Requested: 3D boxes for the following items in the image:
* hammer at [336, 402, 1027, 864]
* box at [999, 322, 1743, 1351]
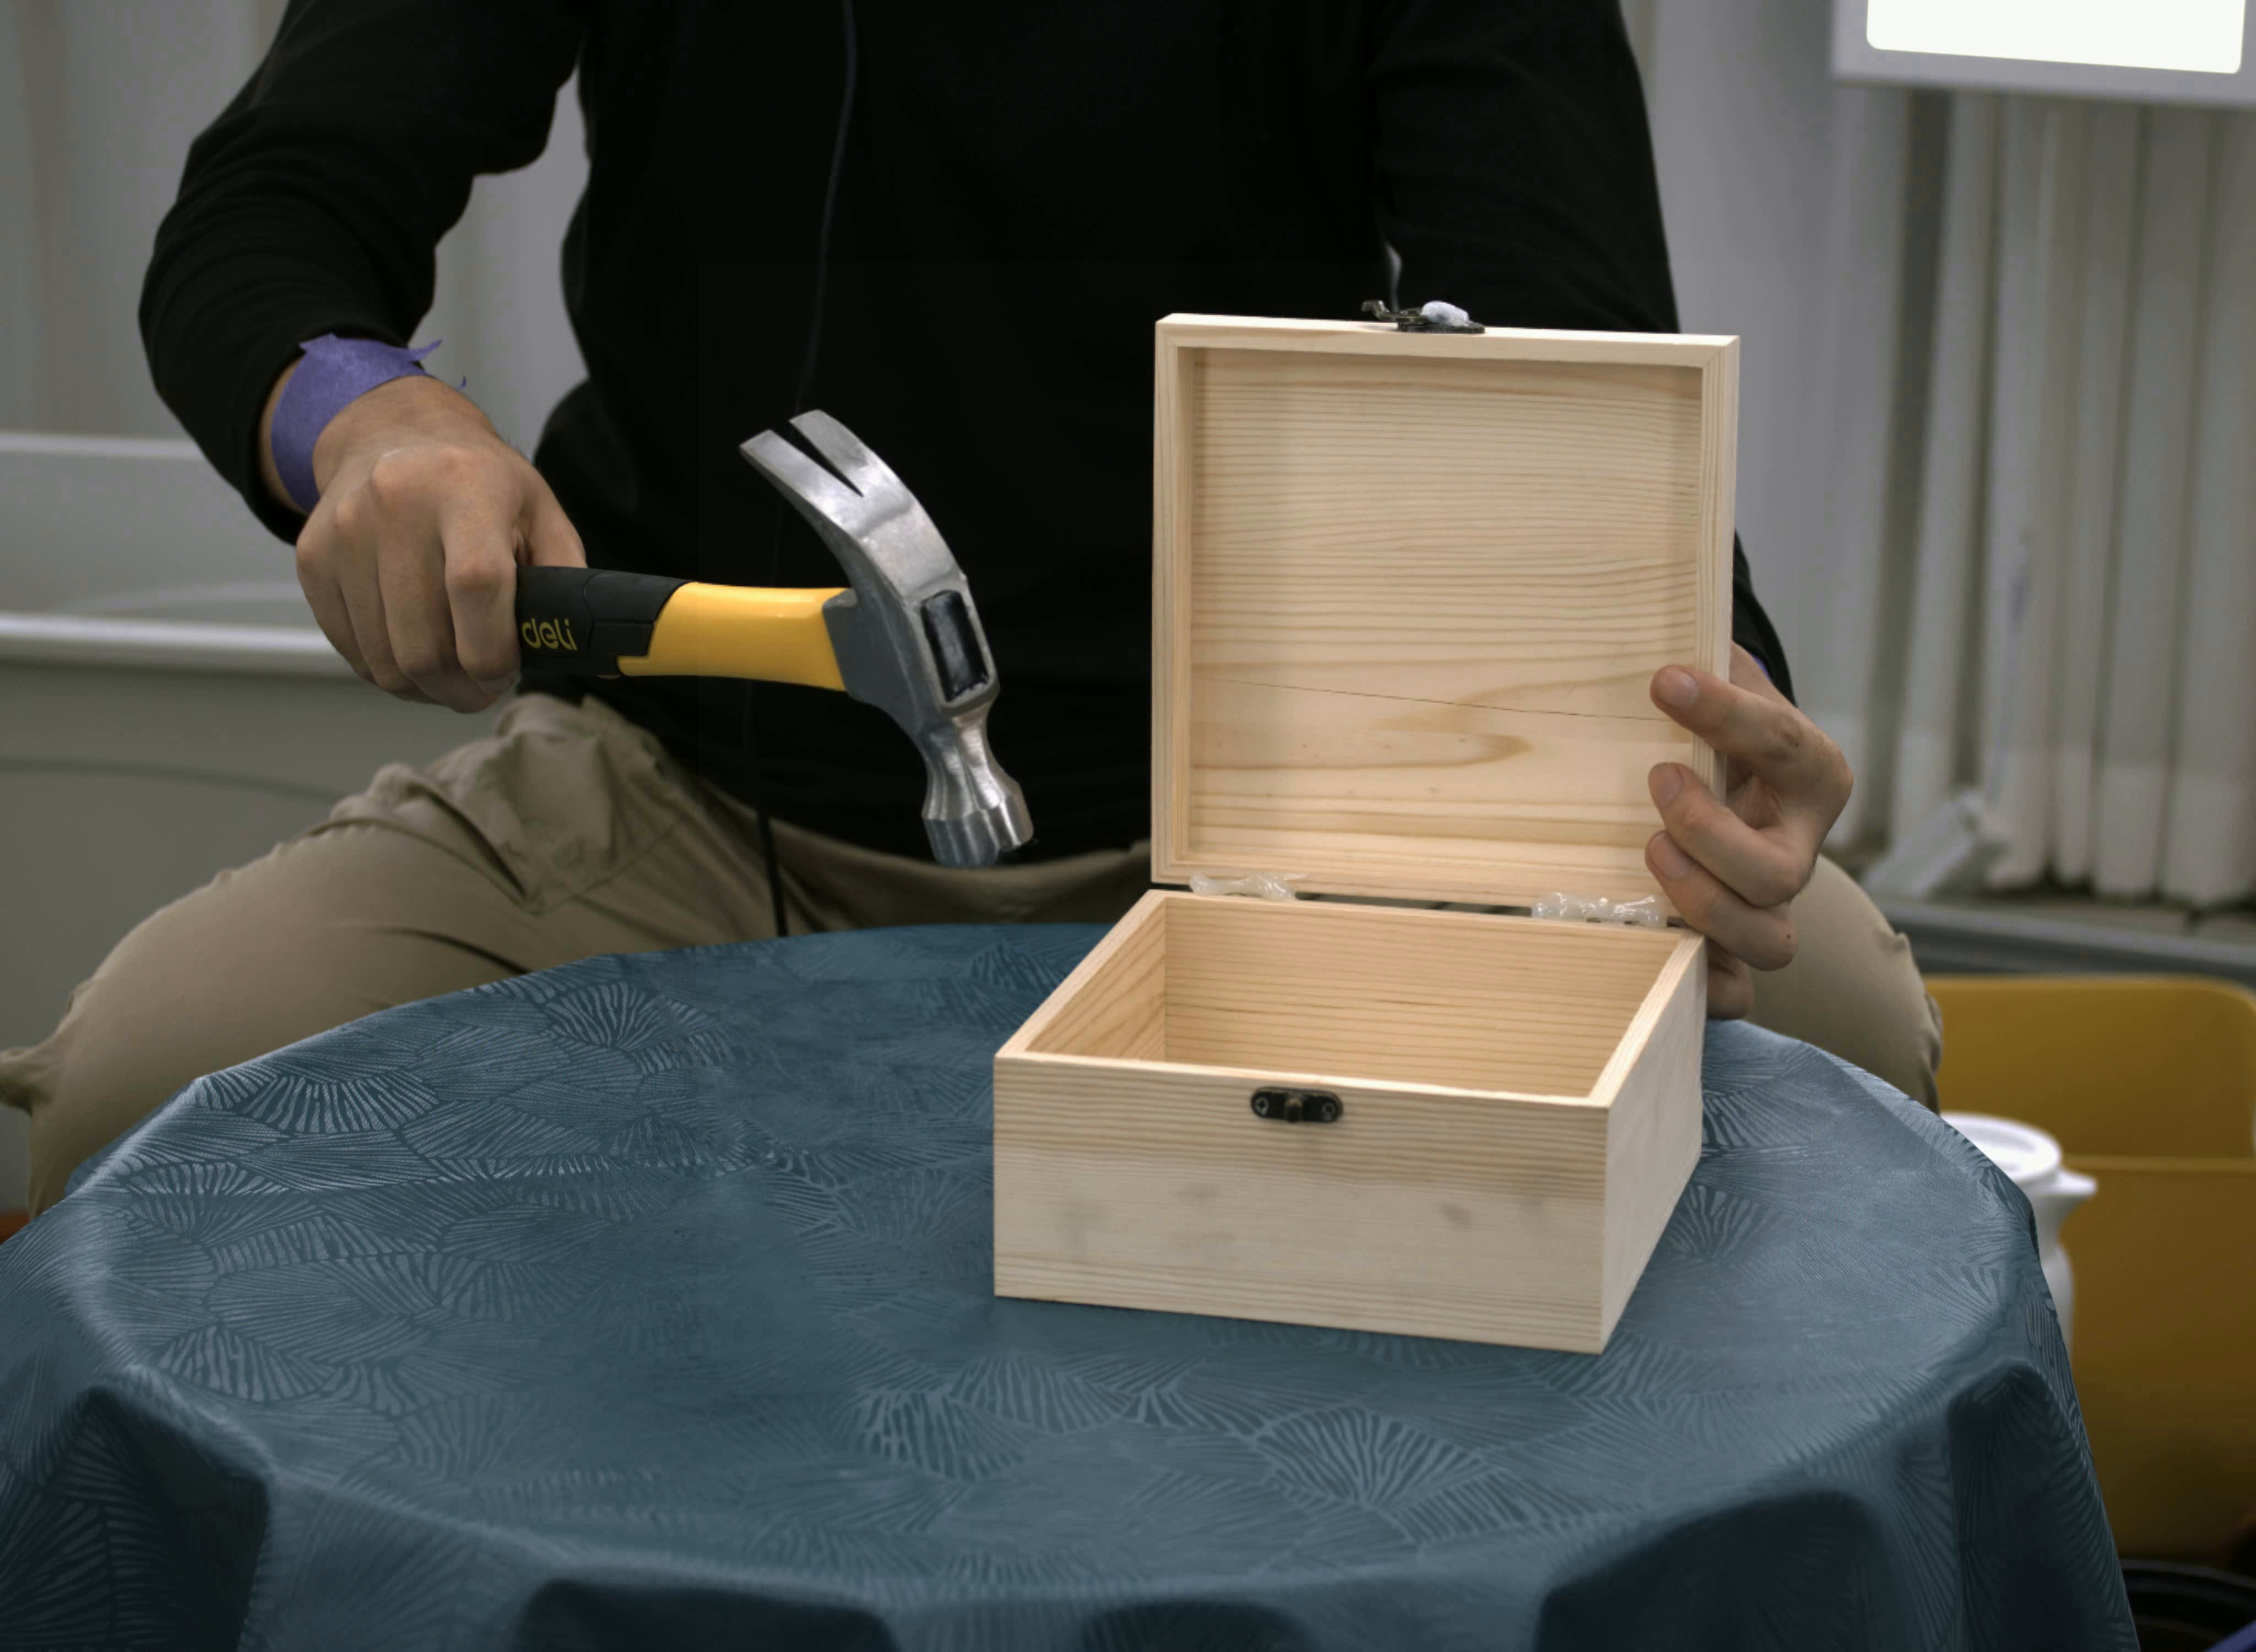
[{"bbox_3d":[-0.151,-0.063,1.625,0.032,0.132,0.334,-27,19,-33],"label":"hammer"},{"bbox_3d":[0.079,-0.008,1.591,0.180,0.255,0.265,2,16,14],"label":"box"}]
